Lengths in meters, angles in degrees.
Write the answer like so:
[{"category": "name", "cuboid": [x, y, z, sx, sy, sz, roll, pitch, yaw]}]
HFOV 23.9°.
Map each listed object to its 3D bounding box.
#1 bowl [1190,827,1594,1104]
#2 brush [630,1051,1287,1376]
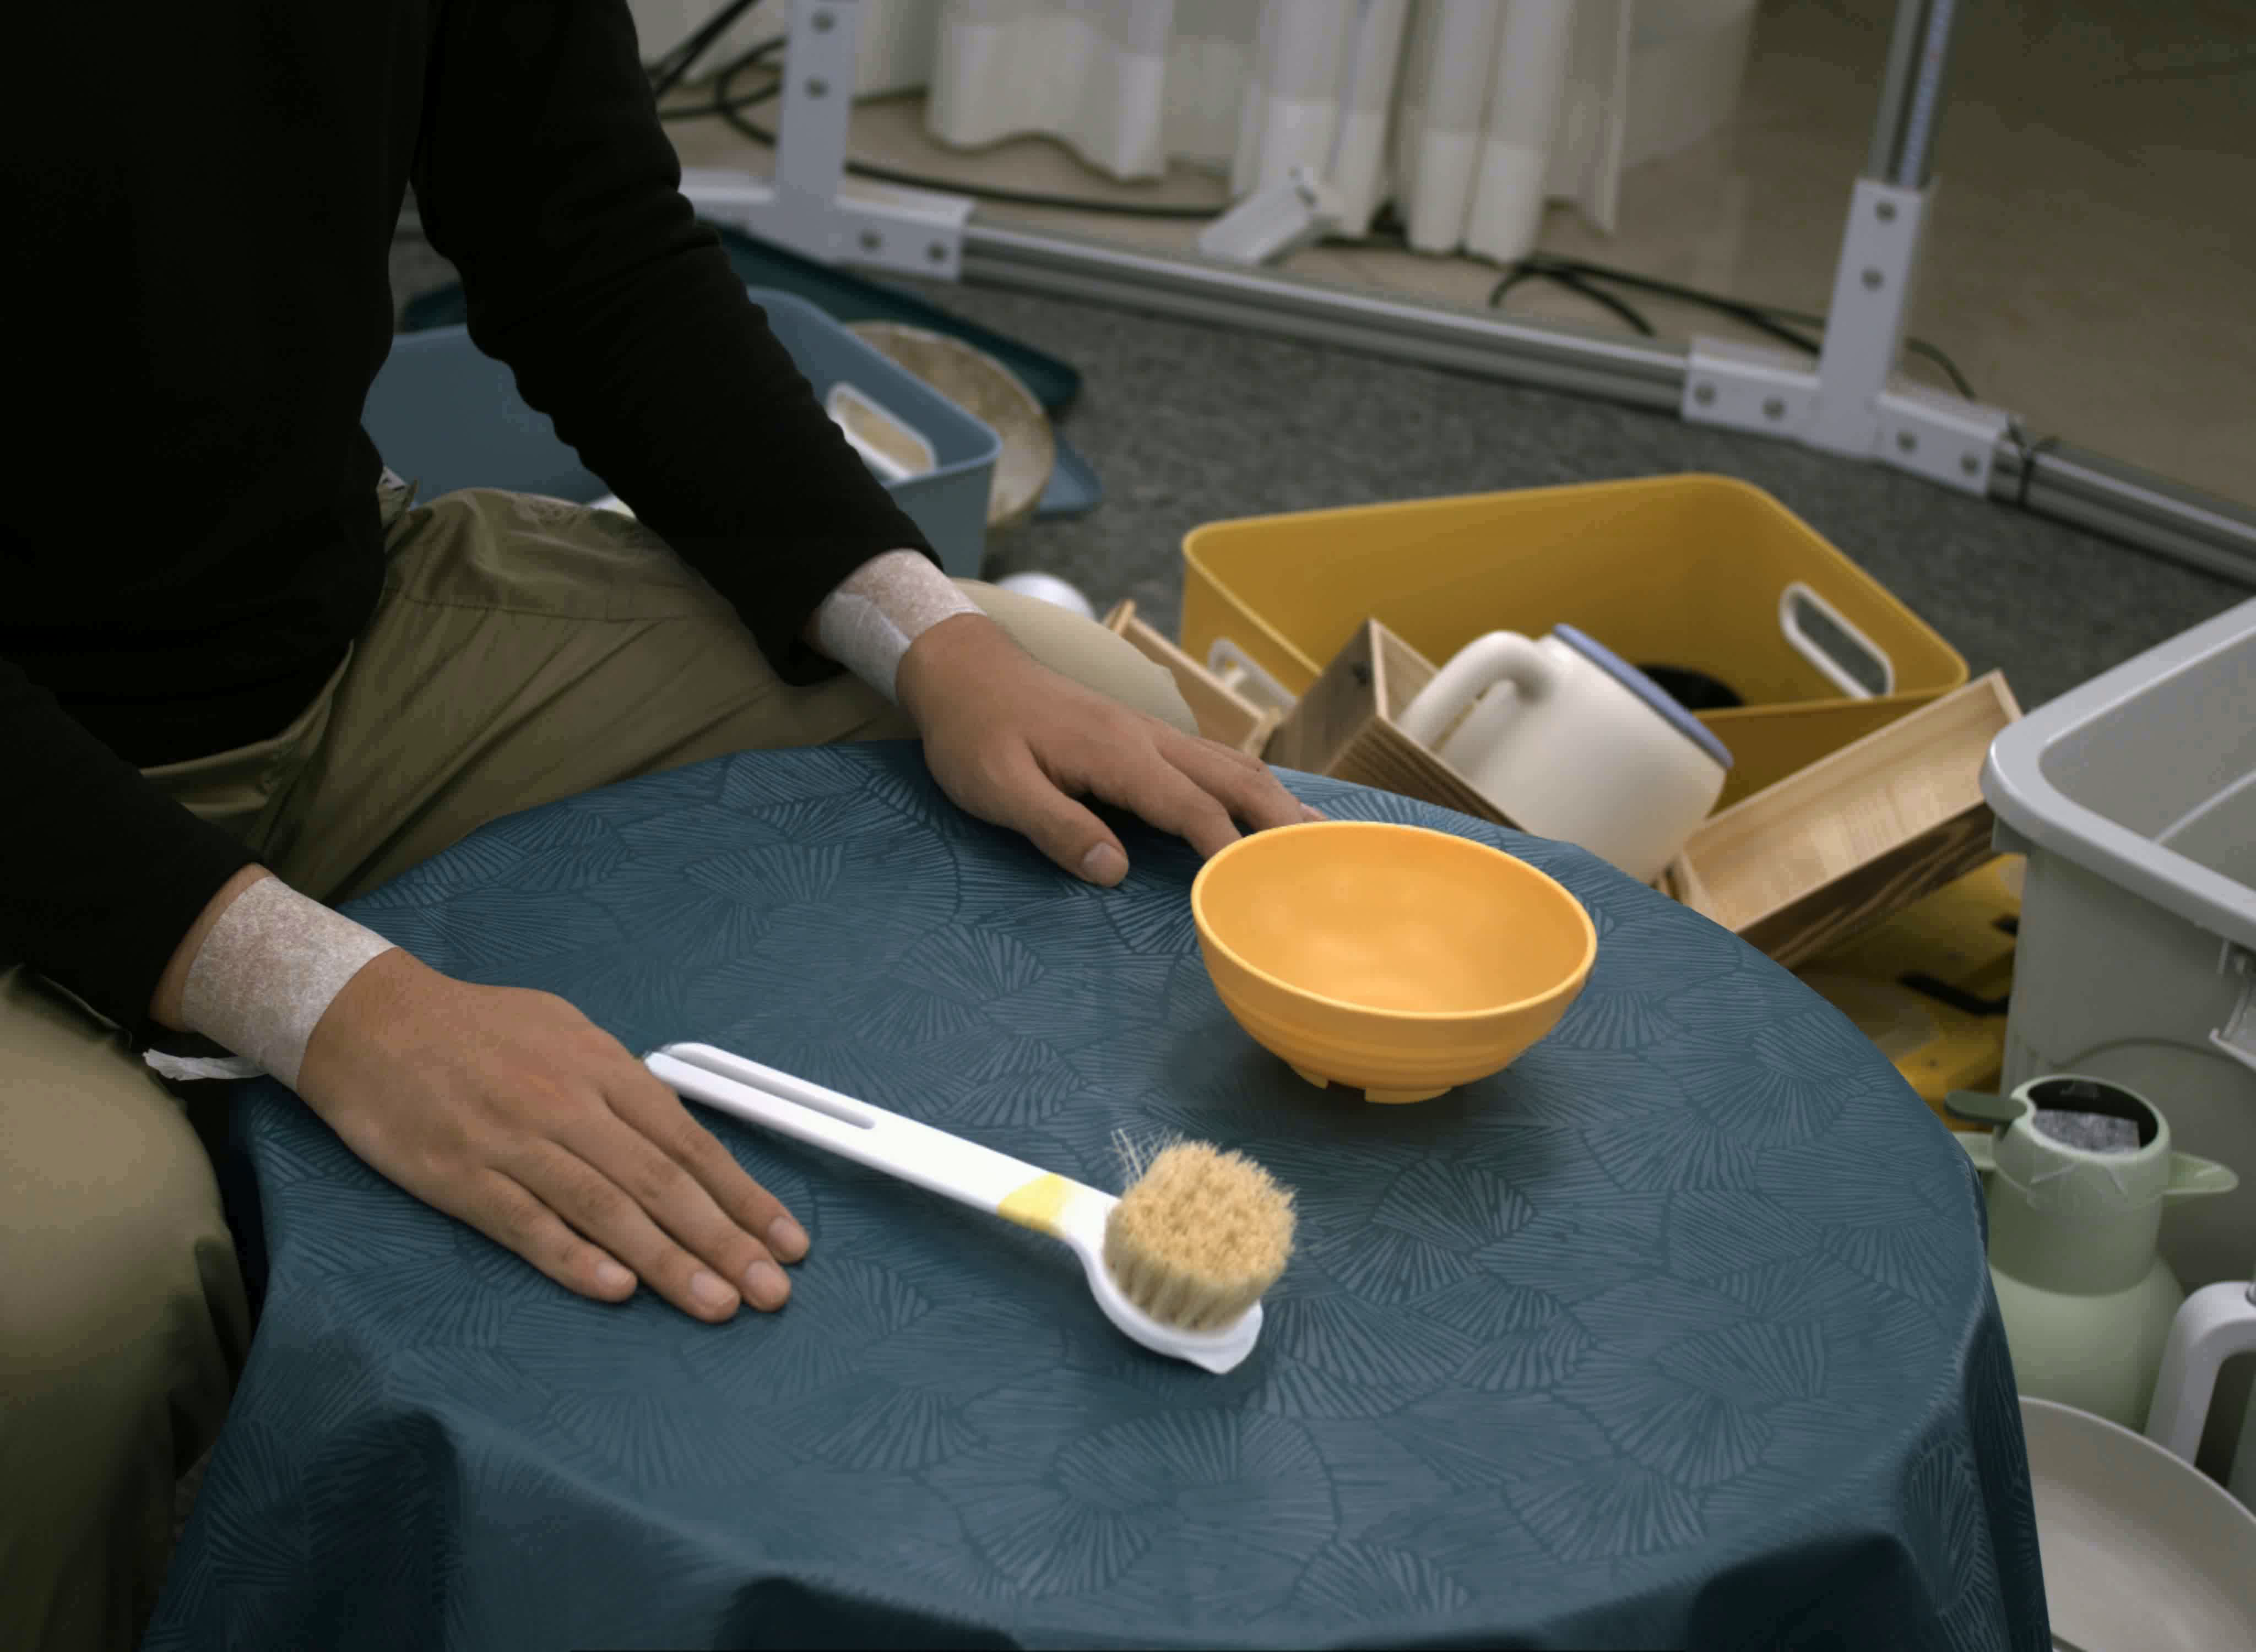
[{"category": "bowl", "cuboid": [0.090, 0.058, 1.888, 0.145, 0.060, 0.146, 5, 25, -3]}, {"category": "brush", "cuboid": [-0.062, 0.106, 1.764, 0.268, 0.056, 0.068, 24, 26, 32]}]
